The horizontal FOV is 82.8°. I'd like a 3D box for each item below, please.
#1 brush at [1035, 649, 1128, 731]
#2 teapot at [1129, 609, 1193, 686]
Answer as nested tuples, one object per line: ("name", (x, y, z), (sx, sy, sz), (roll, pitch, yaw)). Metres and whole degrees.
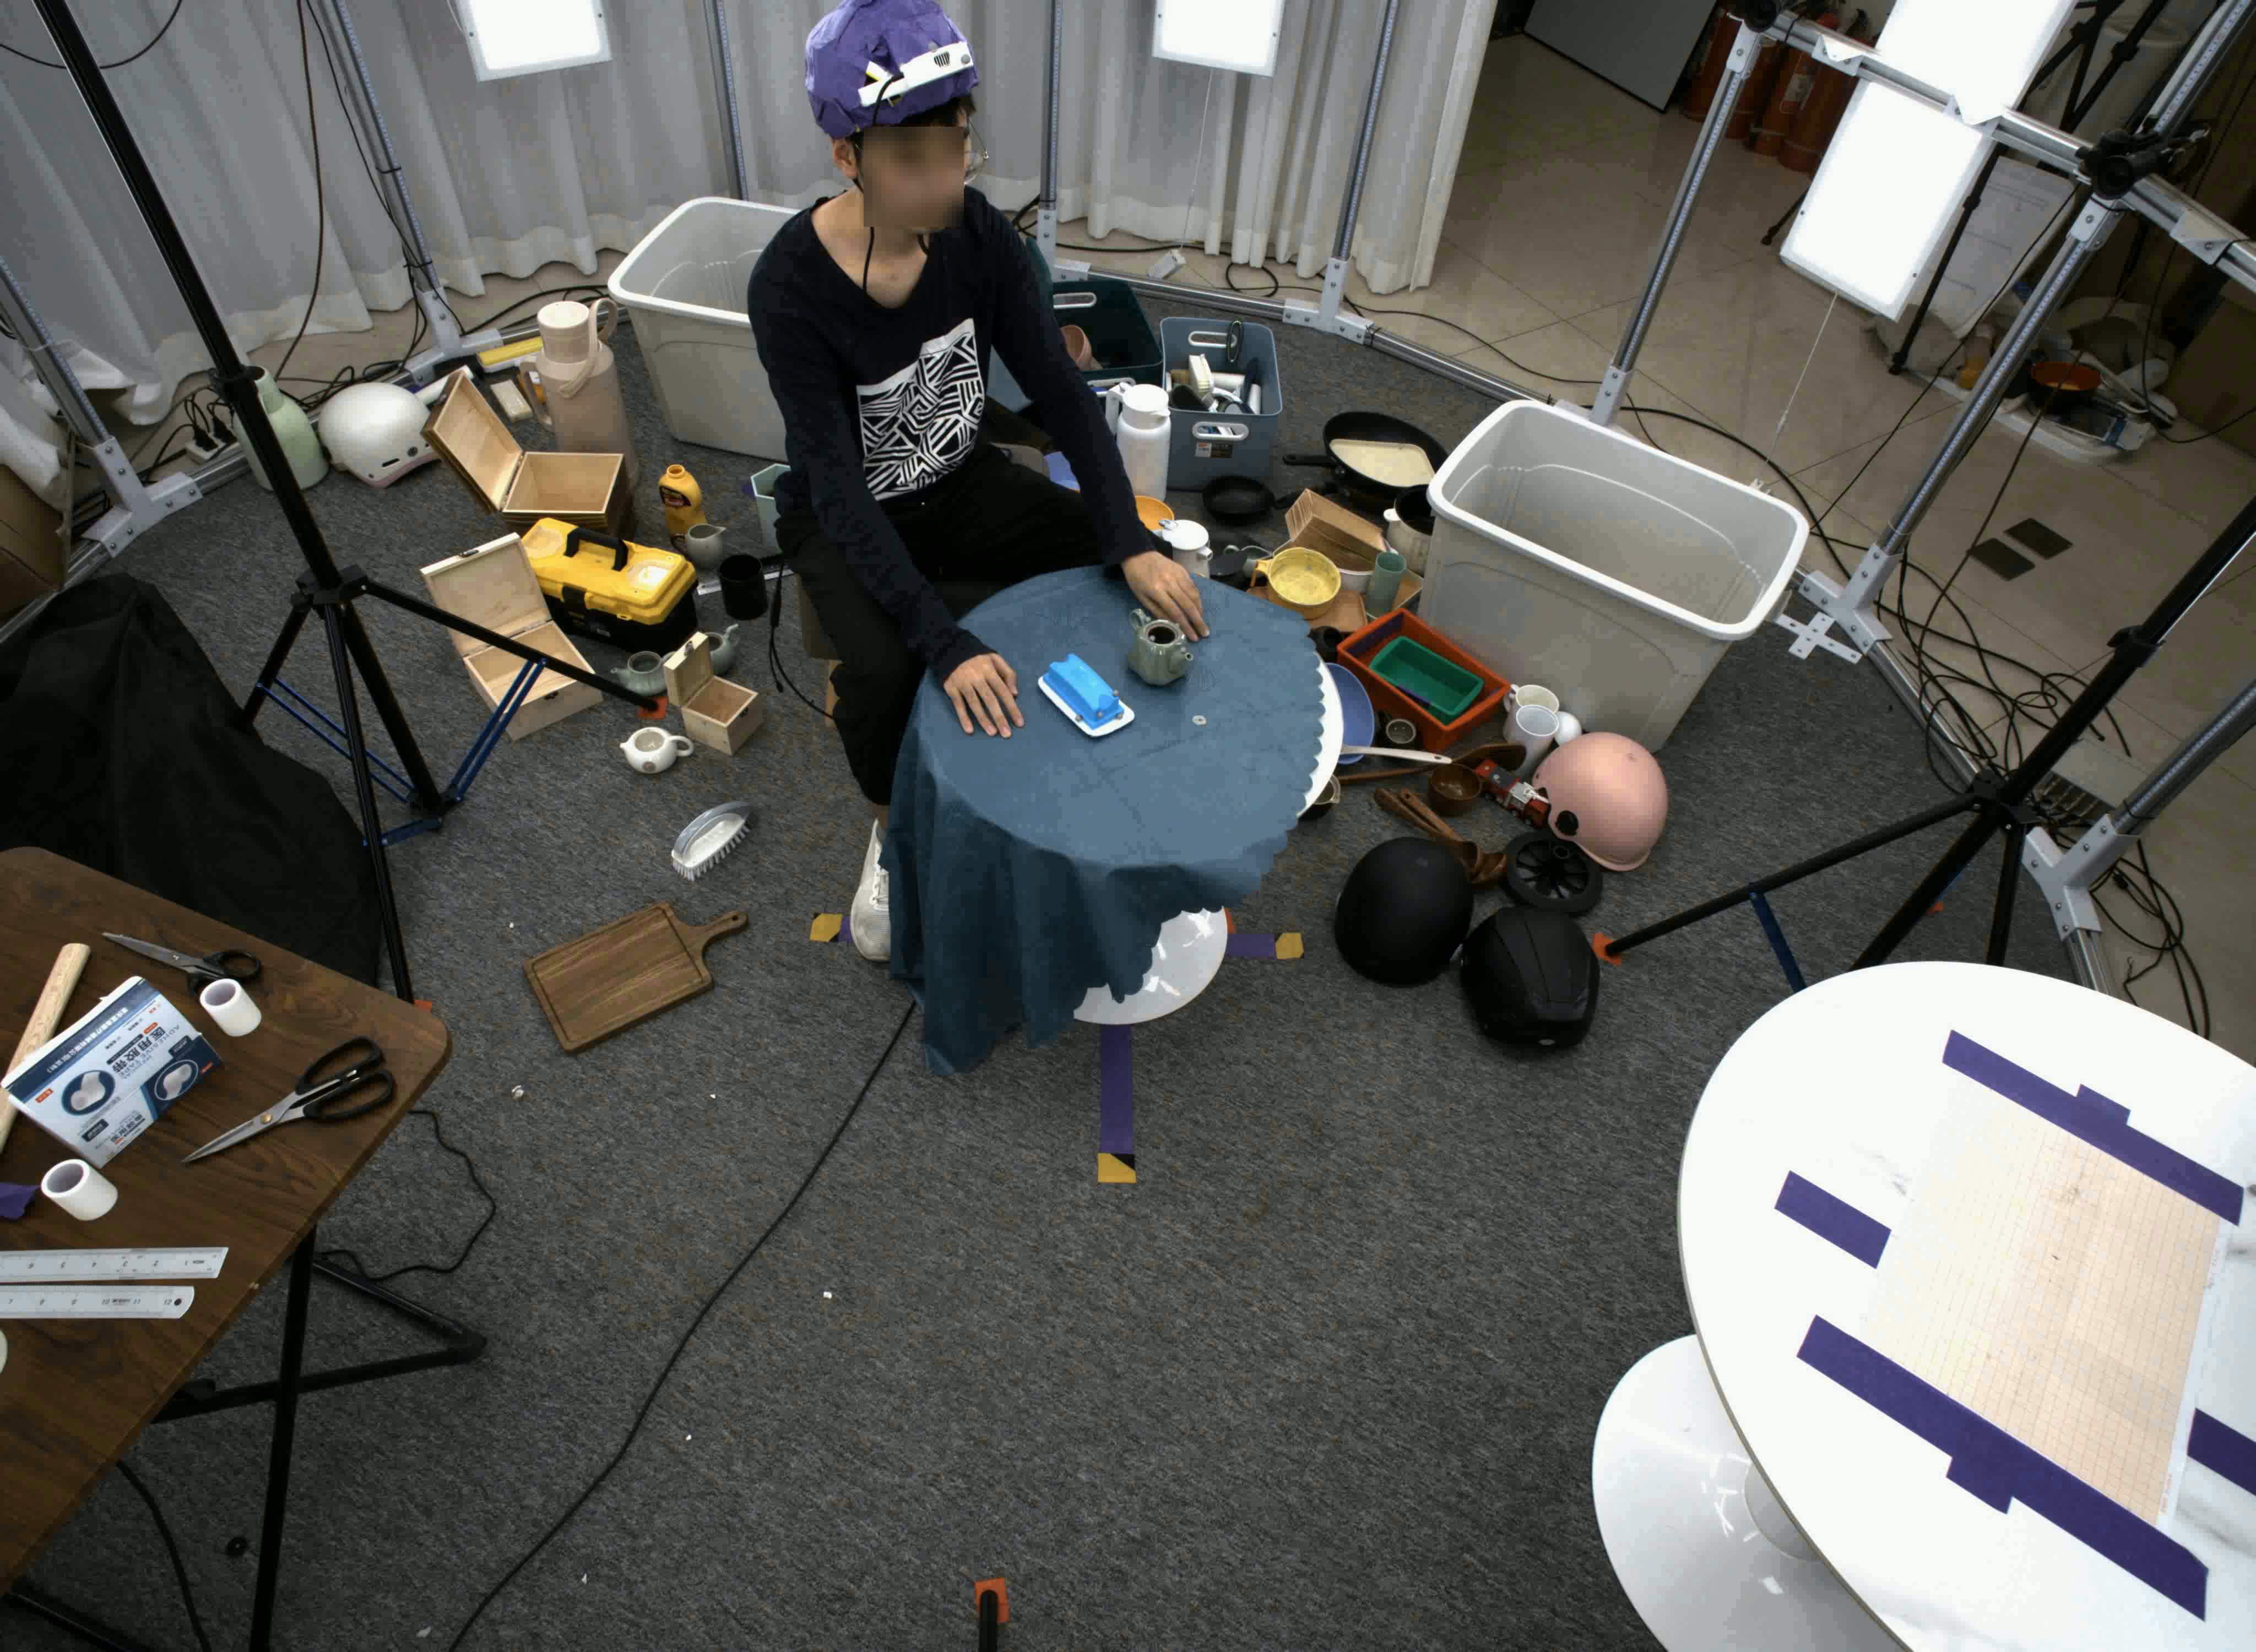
("brush", (-0.064, -0.197, 1.795), (0.084, 0.054, 0.147), (-24, 57, -26))
("teapot", (0.047, -0.252, 1.843), (0.080, 0.073, 0.135), (-29, 55, -26))
